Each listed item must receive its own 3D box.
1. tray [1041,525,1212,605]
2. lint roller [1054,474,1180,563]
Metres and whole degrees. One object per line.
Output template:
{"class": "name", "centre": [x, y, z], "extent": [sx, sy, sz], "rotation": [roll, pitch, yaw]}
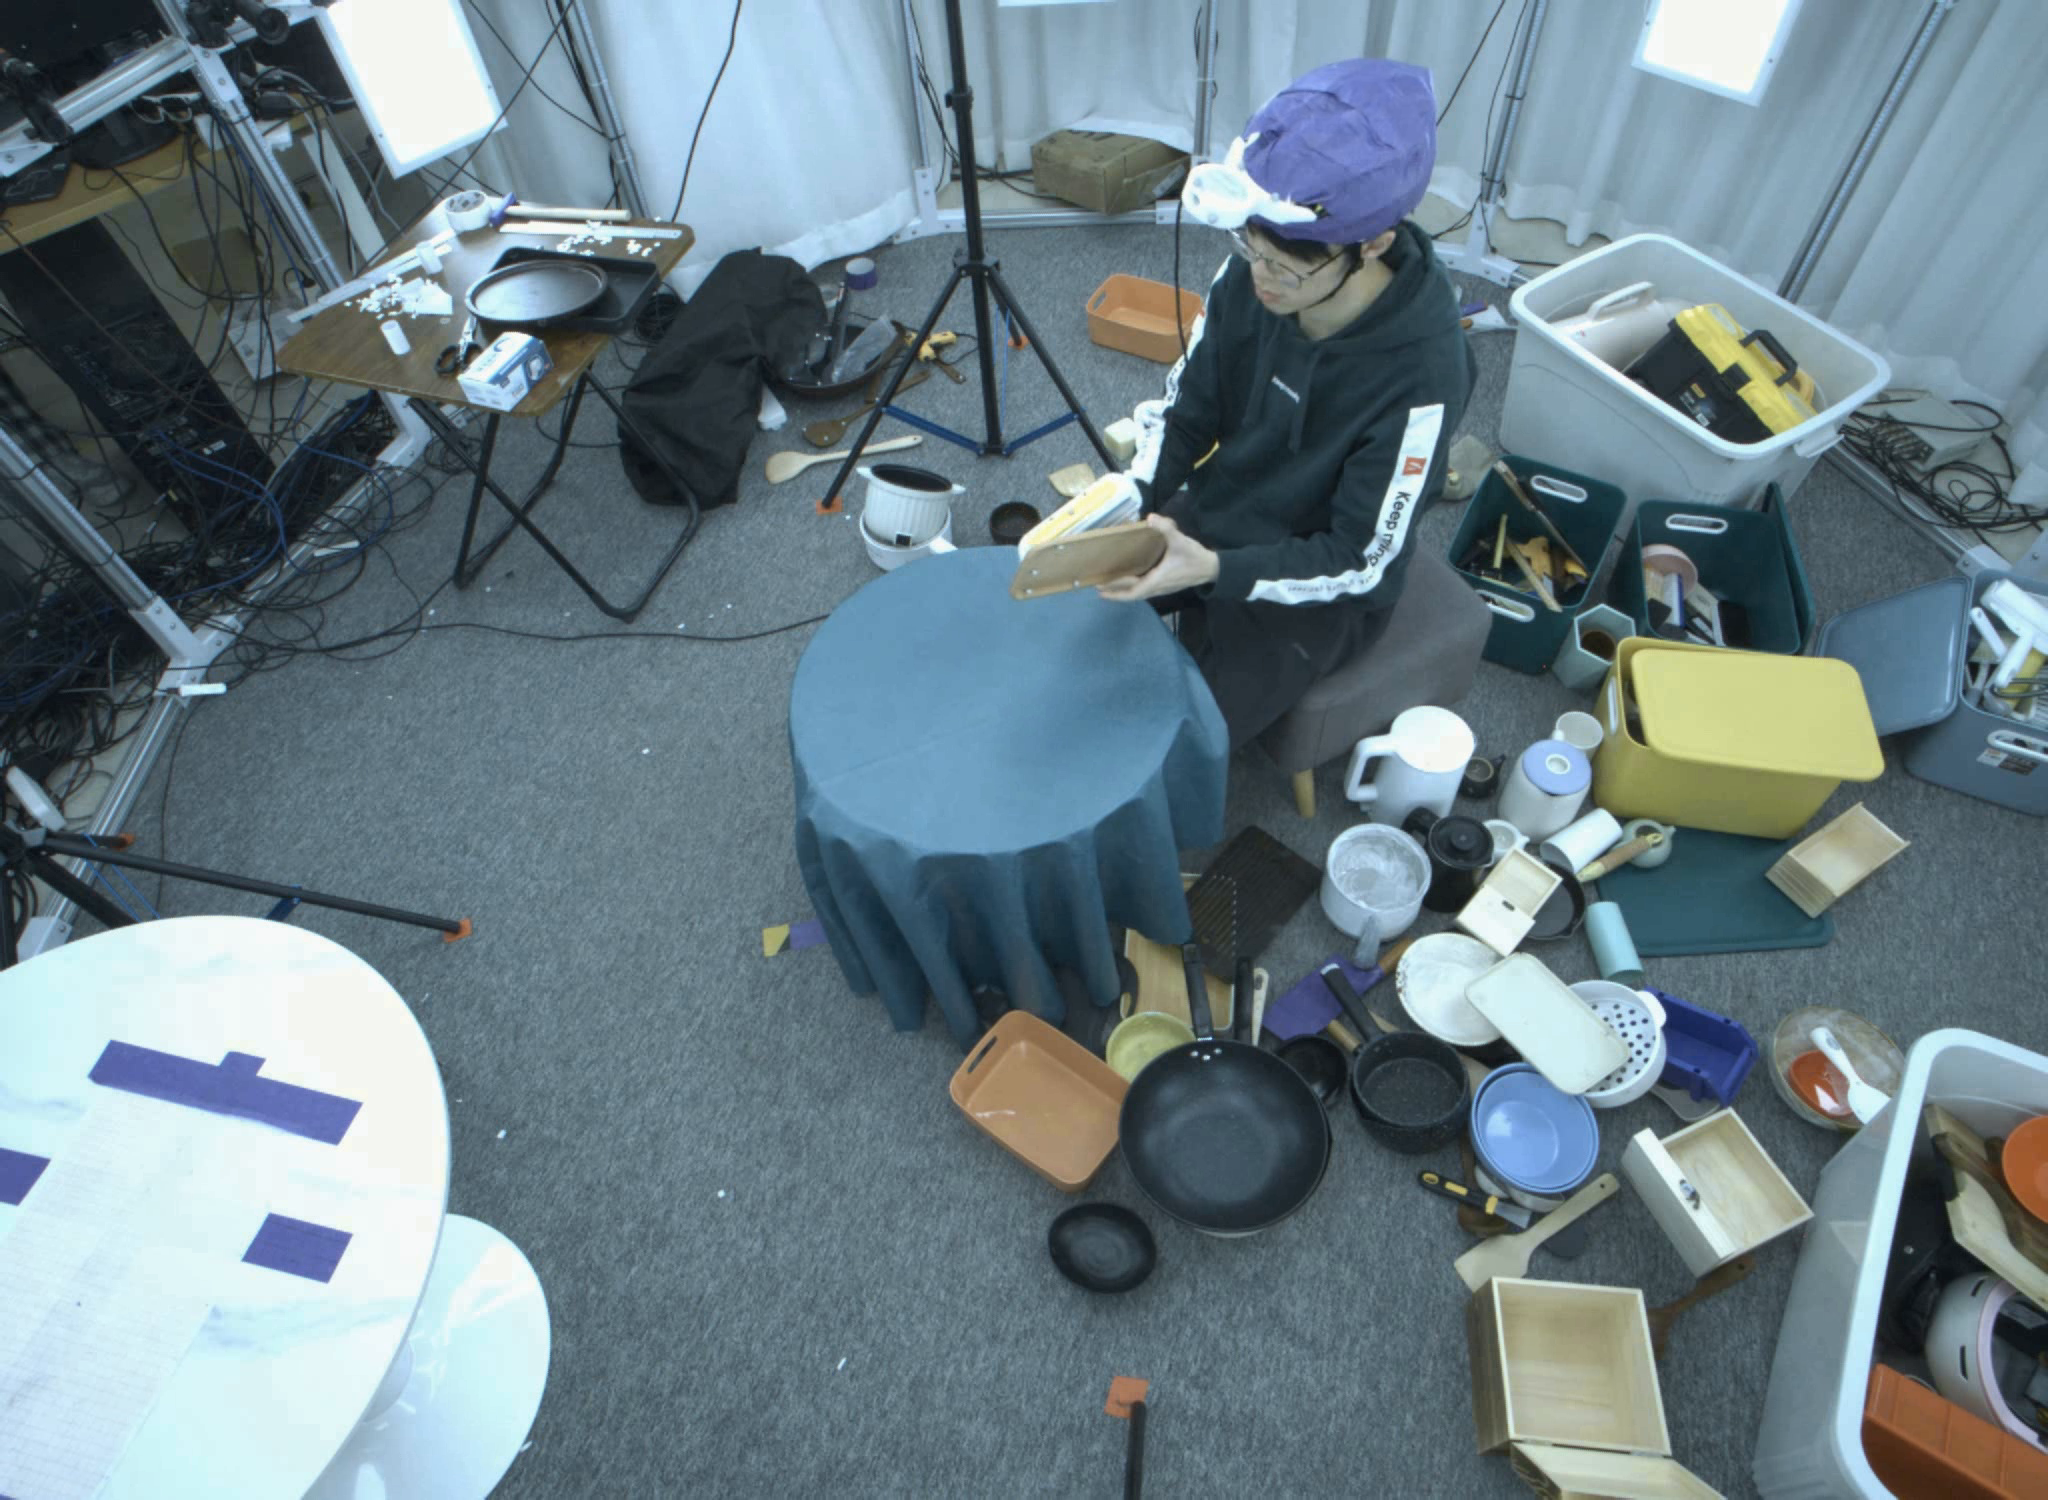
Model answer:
{"class": "tray", "centre": [0.143, -0.260, 1.715], "extent": [0.255, 0.130, 0.022], "rotation": [-15, 69, -29]}
{"class": "lint roller", "centre": [0.138, -0.298, 1.764], "extent": [0.193, 0.195, 0.073], "rotation": [-38, 66, -1]}
